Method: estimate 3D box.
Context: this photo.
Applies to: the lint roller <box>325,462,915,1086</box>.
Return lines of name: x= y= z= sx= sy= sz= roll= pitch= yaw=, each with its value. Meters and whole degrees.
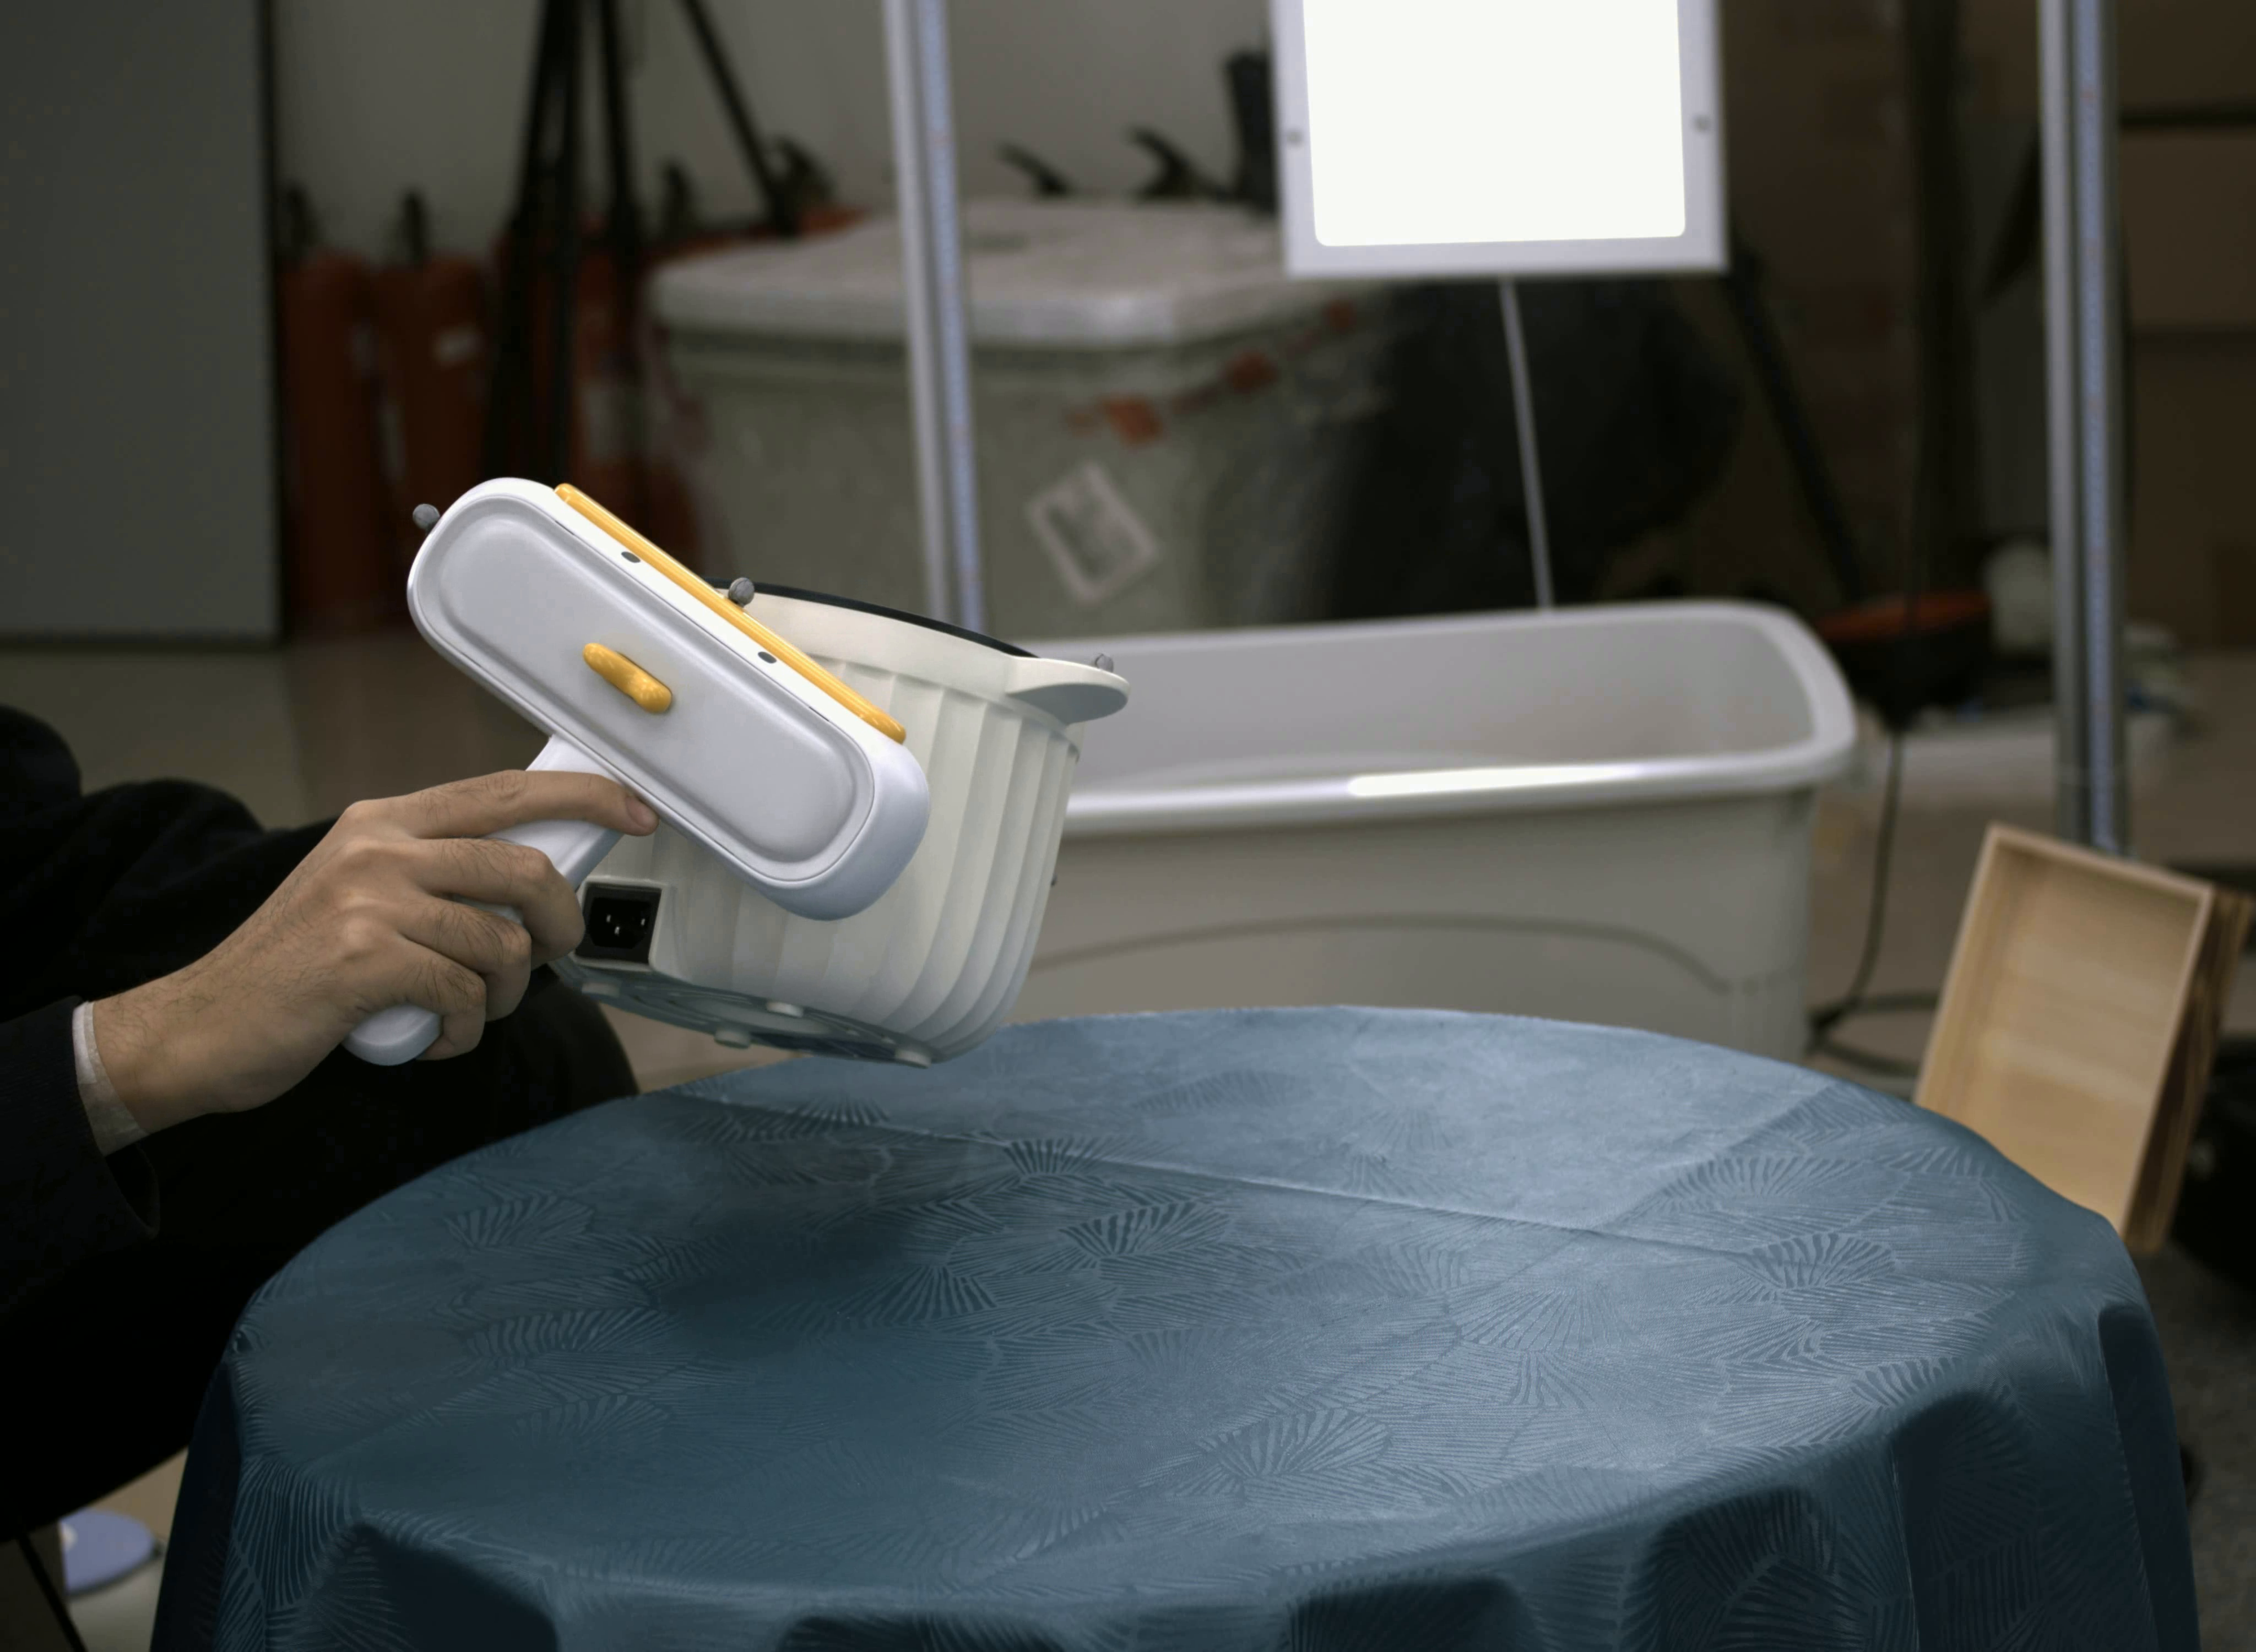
lint roller: x=-0.188 y=0.000 z=1.765 sx=0.194 sy=0.192 sz=0.074 roll=32 pitch=-6 yaw=11

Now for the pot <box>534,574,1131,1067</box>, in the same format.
pot: x=-0.112 y=0.004 z=1.893 sx=0.245 sy=0.143 sz=0.186 roll=5 pitch=-8 yaw=34
